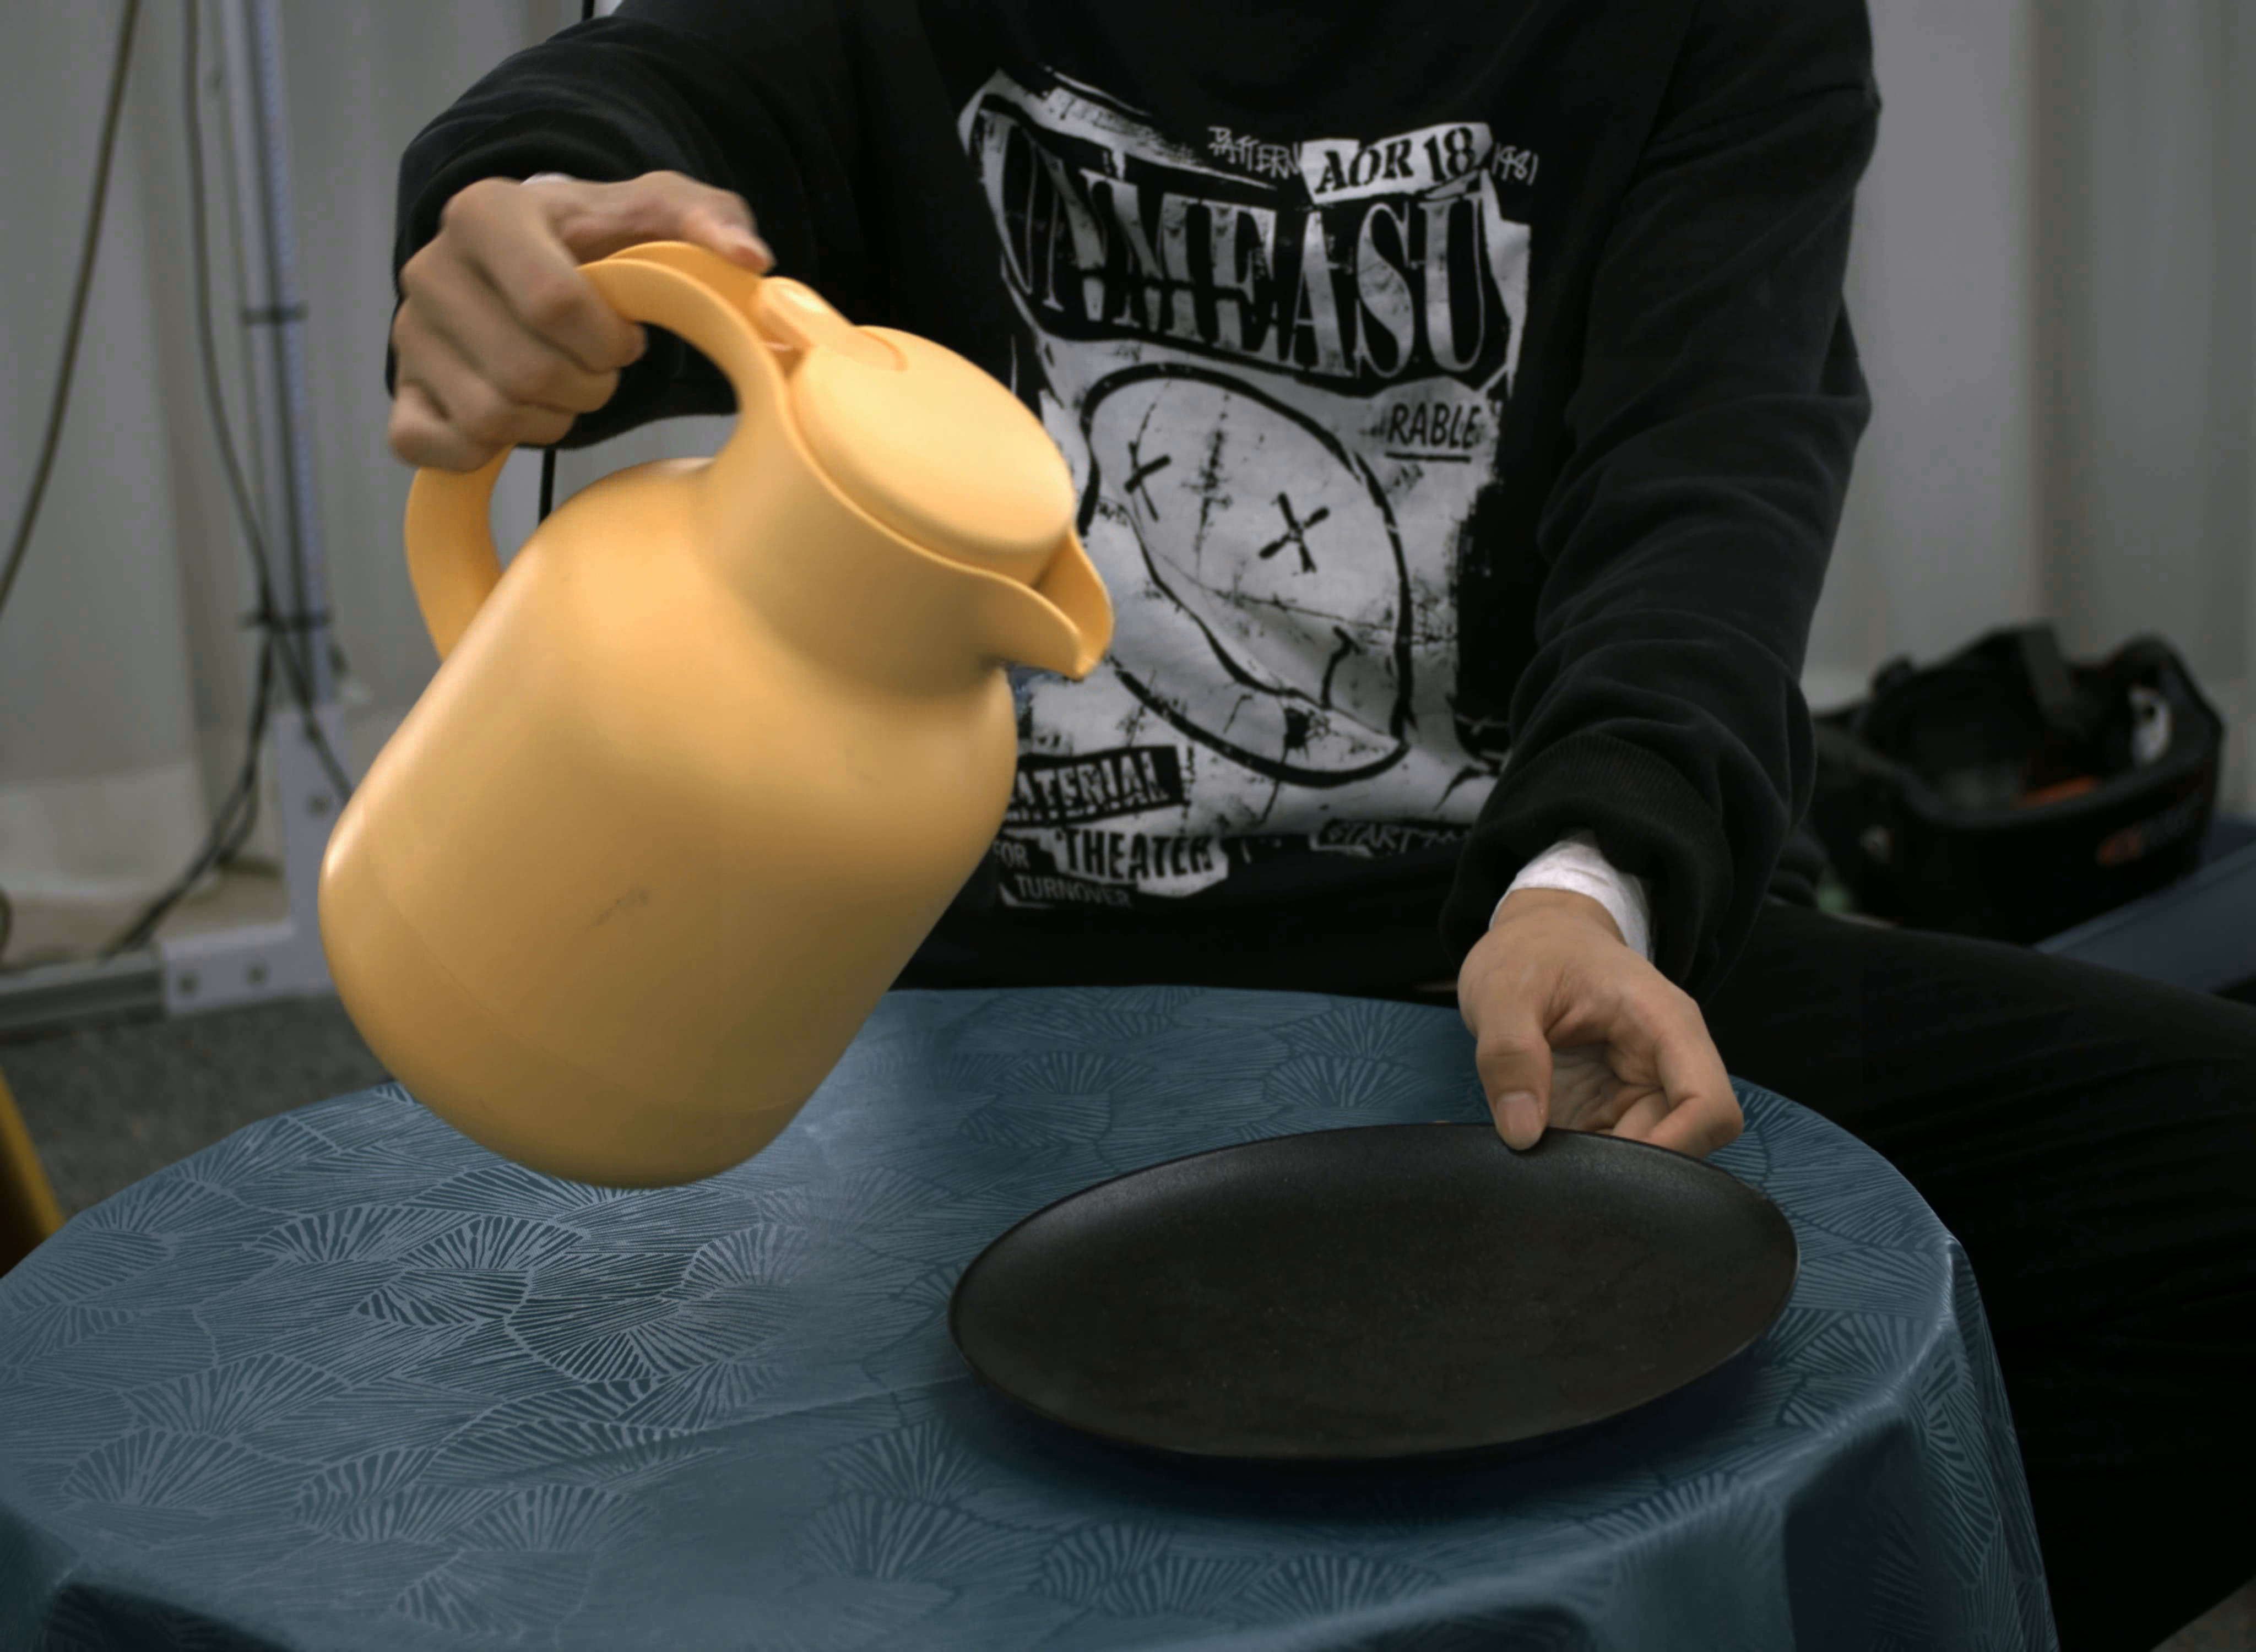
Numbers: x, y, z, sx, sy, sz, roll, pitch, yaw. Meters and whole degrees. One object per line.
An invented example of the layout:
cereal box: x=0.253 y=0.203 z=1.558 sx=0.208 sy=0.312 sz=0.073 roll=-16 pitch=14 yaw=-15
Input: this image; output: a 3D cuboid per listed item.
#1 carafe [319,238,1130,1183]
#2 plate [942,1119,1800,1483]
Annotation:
carafe: x=-0.126 y=-0.040 z=1.590 sx=0.203 sy=0.259 sz=0.164 roll=46 pitch=31 yaw=10
plate: x=0.069 y=0.138 z=1.549 sx=0.243 sy=0.023 sz=0.246 roll=-5 pitch=18 yaw=1
